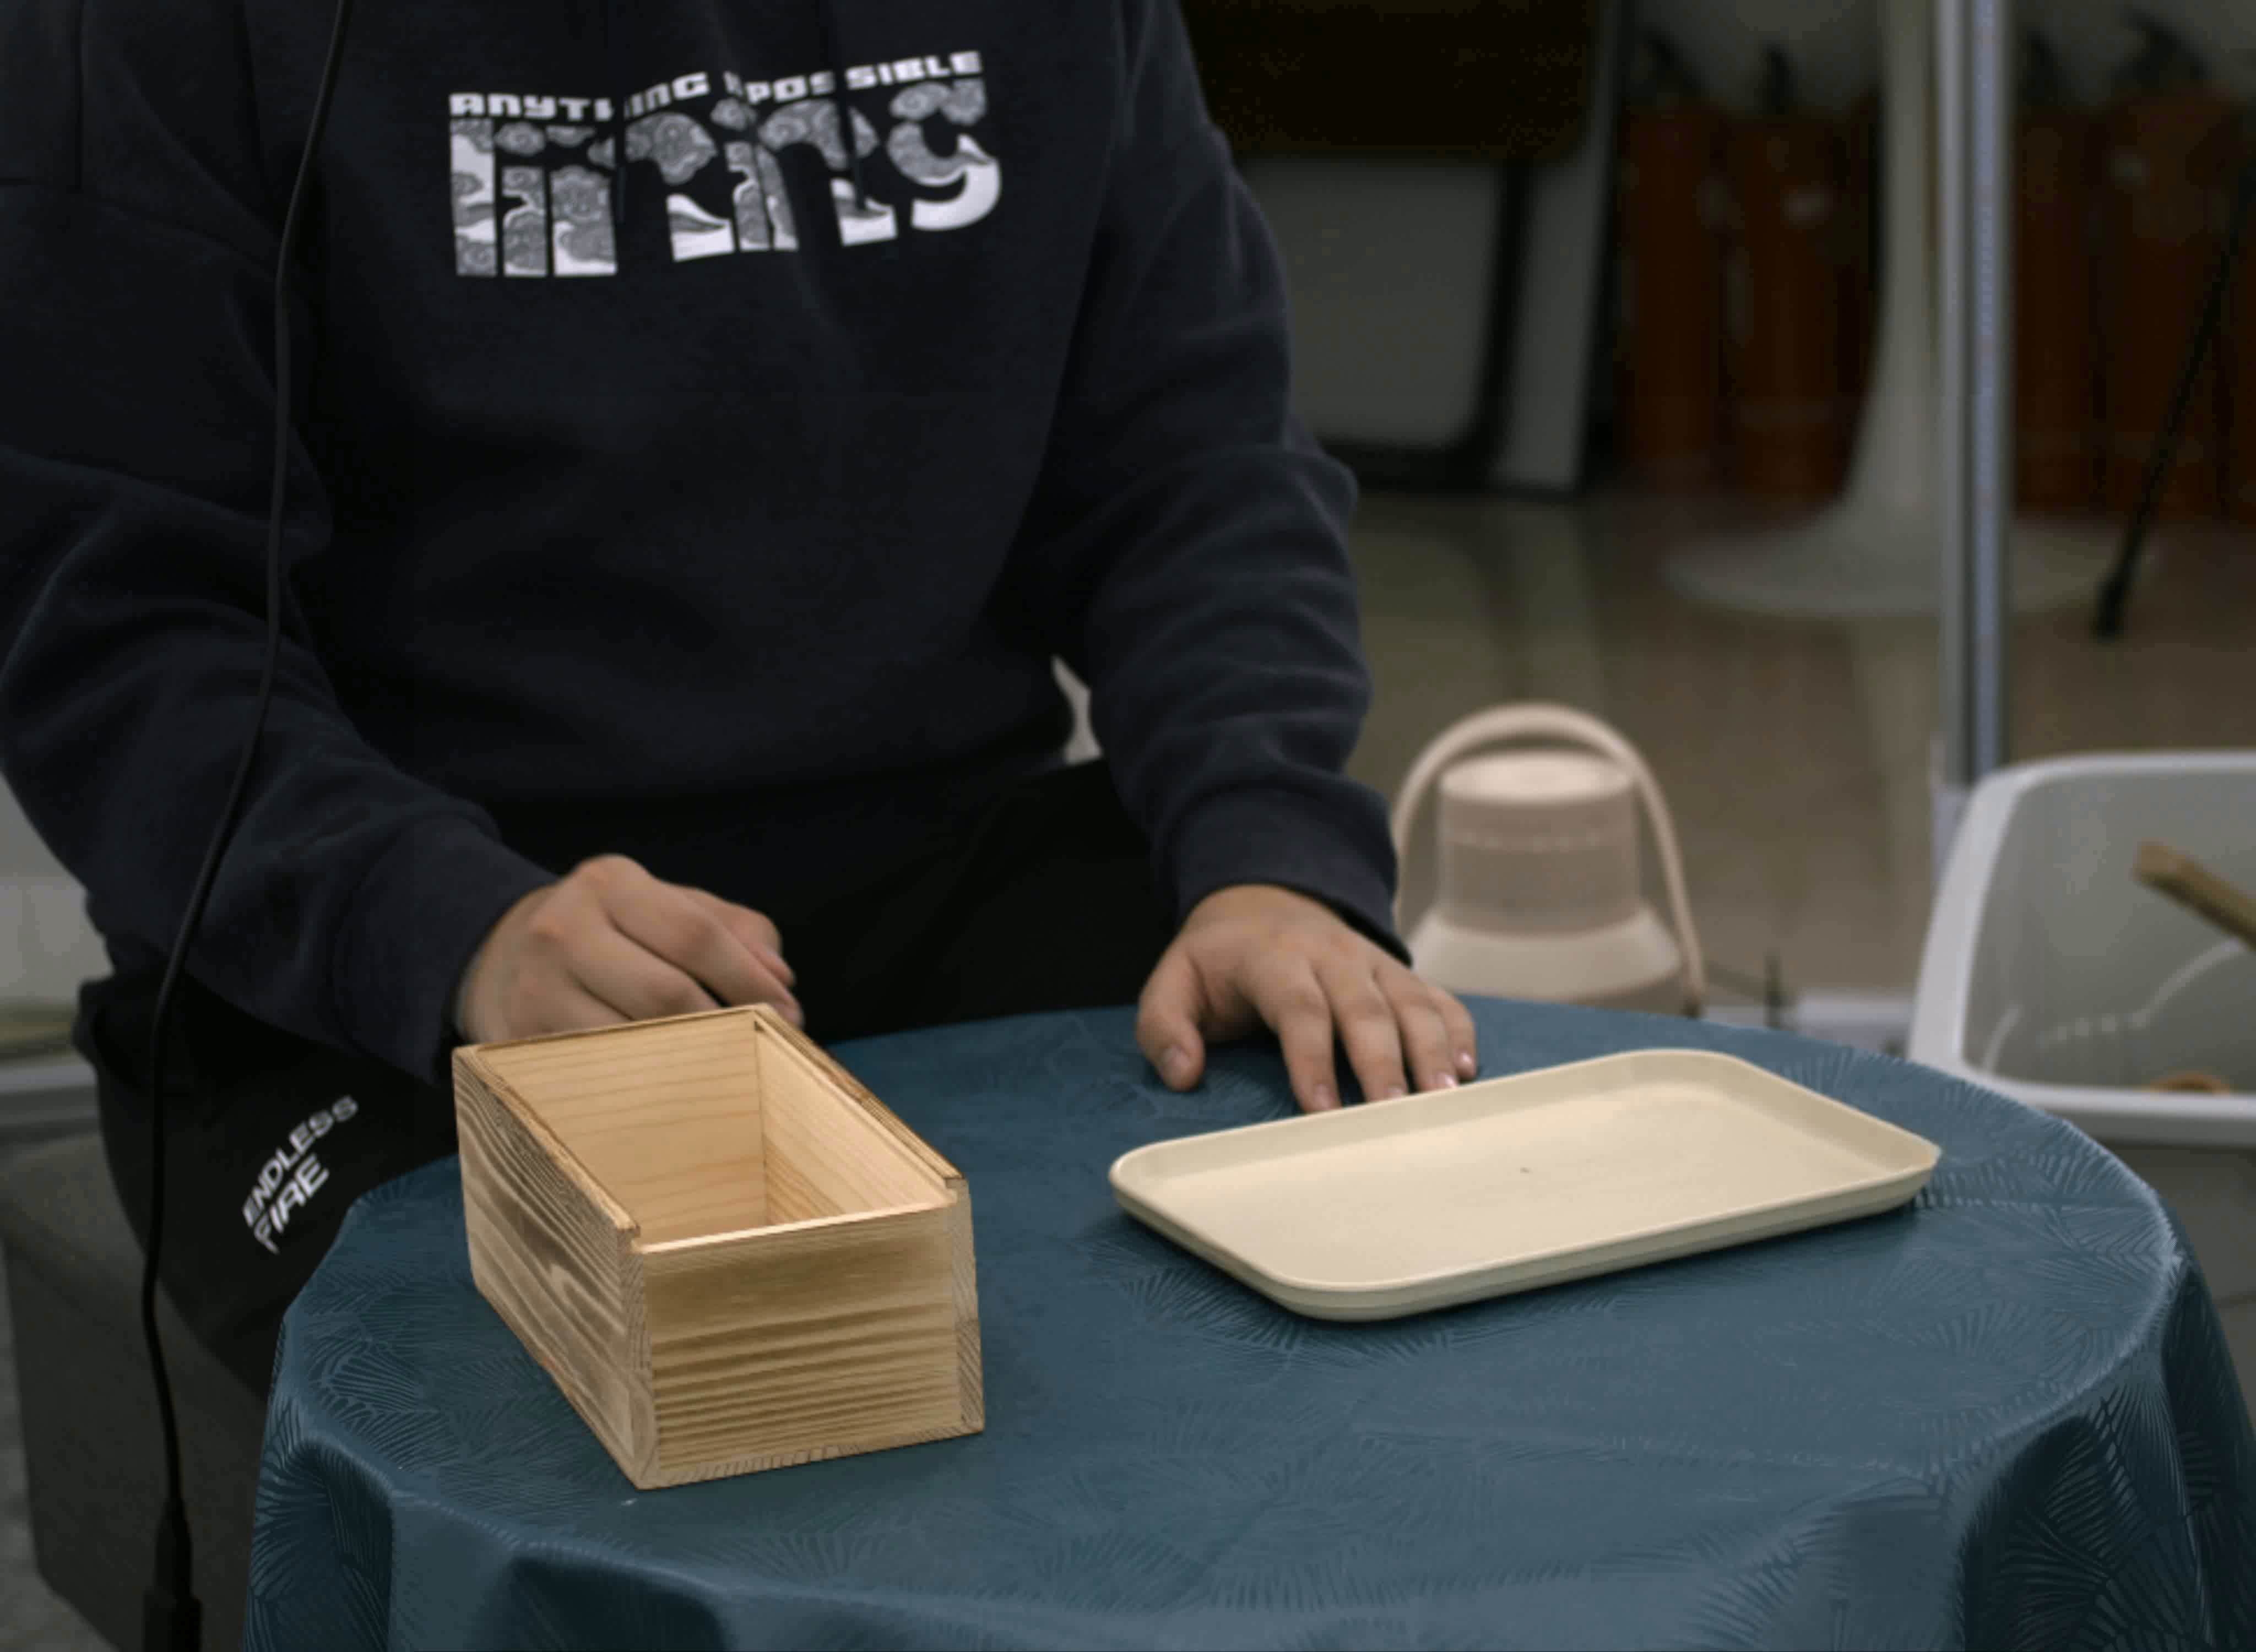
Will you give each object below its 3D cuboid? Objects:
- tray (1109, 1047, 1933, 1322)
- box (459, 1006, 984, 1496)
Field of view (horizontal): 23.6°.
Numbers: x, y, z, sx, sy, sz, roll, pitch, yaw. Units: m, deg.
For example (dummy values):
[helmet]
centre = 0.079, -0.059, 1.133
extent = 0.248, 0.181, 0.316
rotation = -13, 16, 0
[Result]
[tray]
centre = 0.126, 0.114, 1.729
extent = 0.234, 0.017, 0.173
rotation = -10, 14, -23
[box]
centre = -0.126, 0.124, 1.632
extent = 0.105, 0.081, 0.213
rotation = -8, 14, -18
